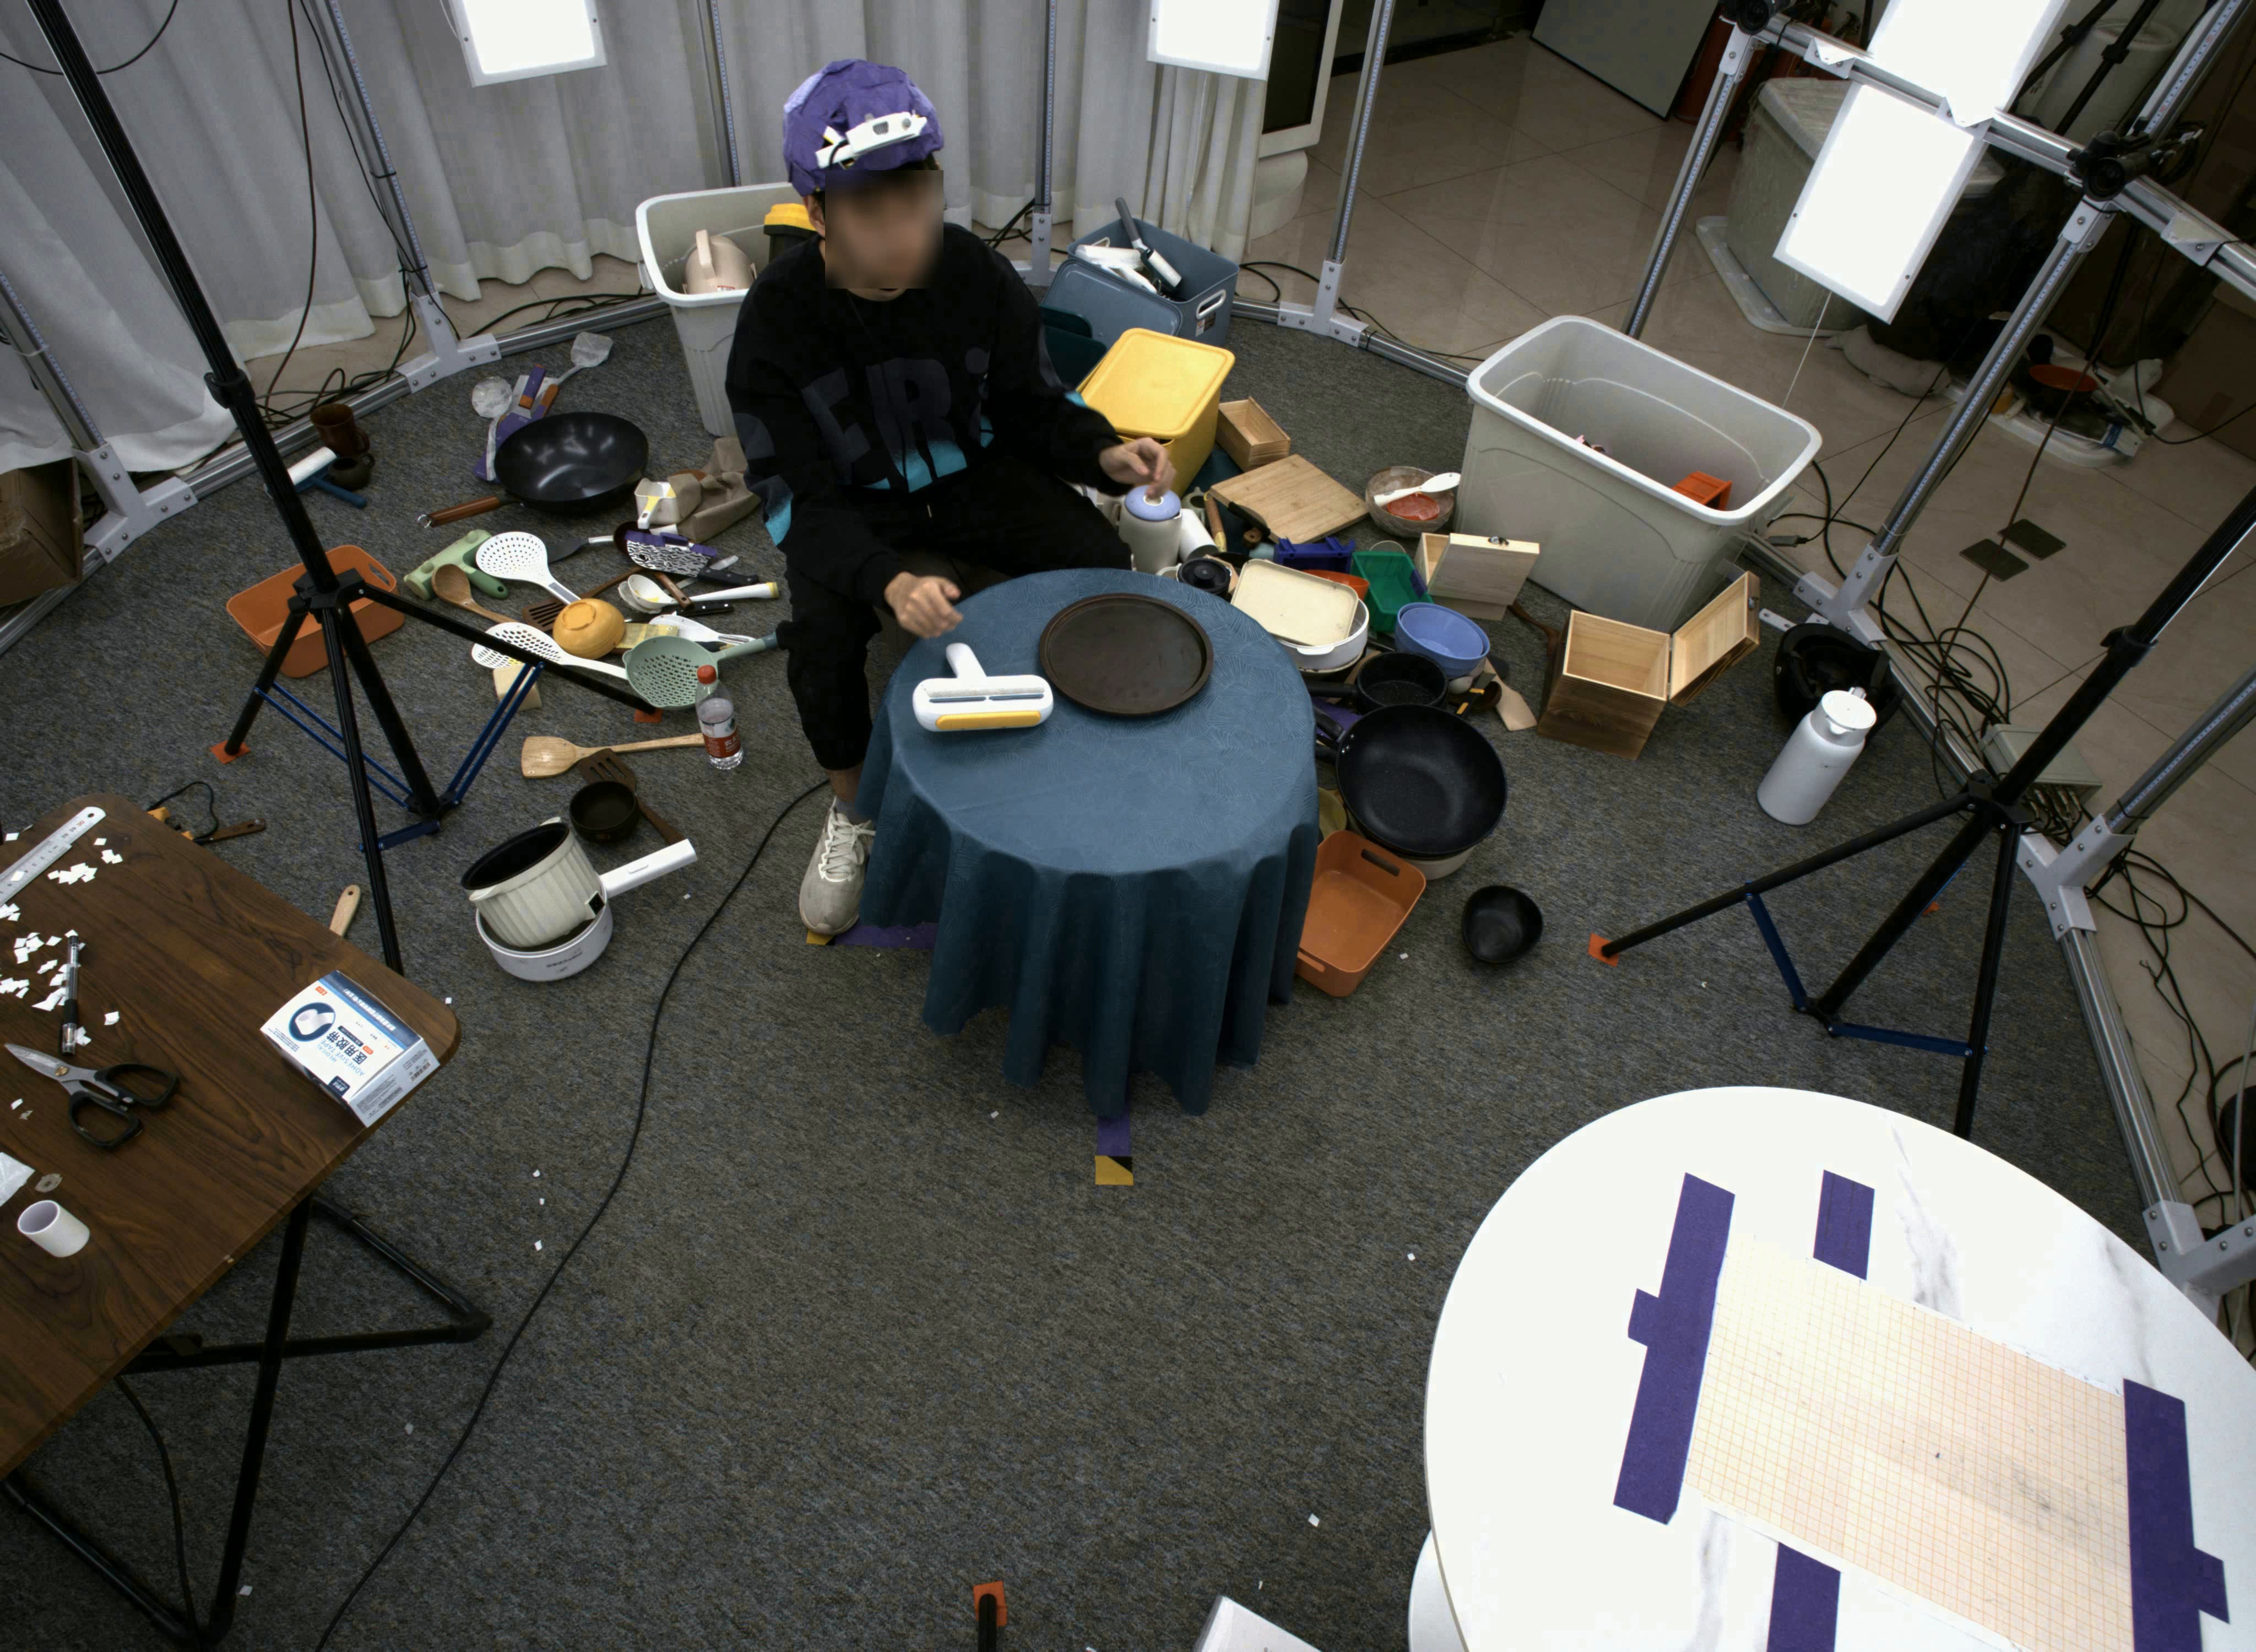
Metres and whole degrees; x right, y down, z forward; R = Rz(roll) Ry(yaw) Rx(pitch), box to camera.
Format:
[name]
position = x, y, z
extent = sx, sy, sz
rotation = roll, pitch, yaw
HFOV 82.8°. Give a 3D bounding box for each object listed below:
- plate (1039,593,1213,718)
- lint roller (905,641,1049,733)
[plate]
position = -0.003, -0.249, 1.869
extent = 0.254, 0.028, 0.261
rotation = 2, 48, -2
[lint roller]
position = -0.218, -0.205, 1.788
extent = 0.192, 0.072, 0.197
rotation = -5, 48, -15
